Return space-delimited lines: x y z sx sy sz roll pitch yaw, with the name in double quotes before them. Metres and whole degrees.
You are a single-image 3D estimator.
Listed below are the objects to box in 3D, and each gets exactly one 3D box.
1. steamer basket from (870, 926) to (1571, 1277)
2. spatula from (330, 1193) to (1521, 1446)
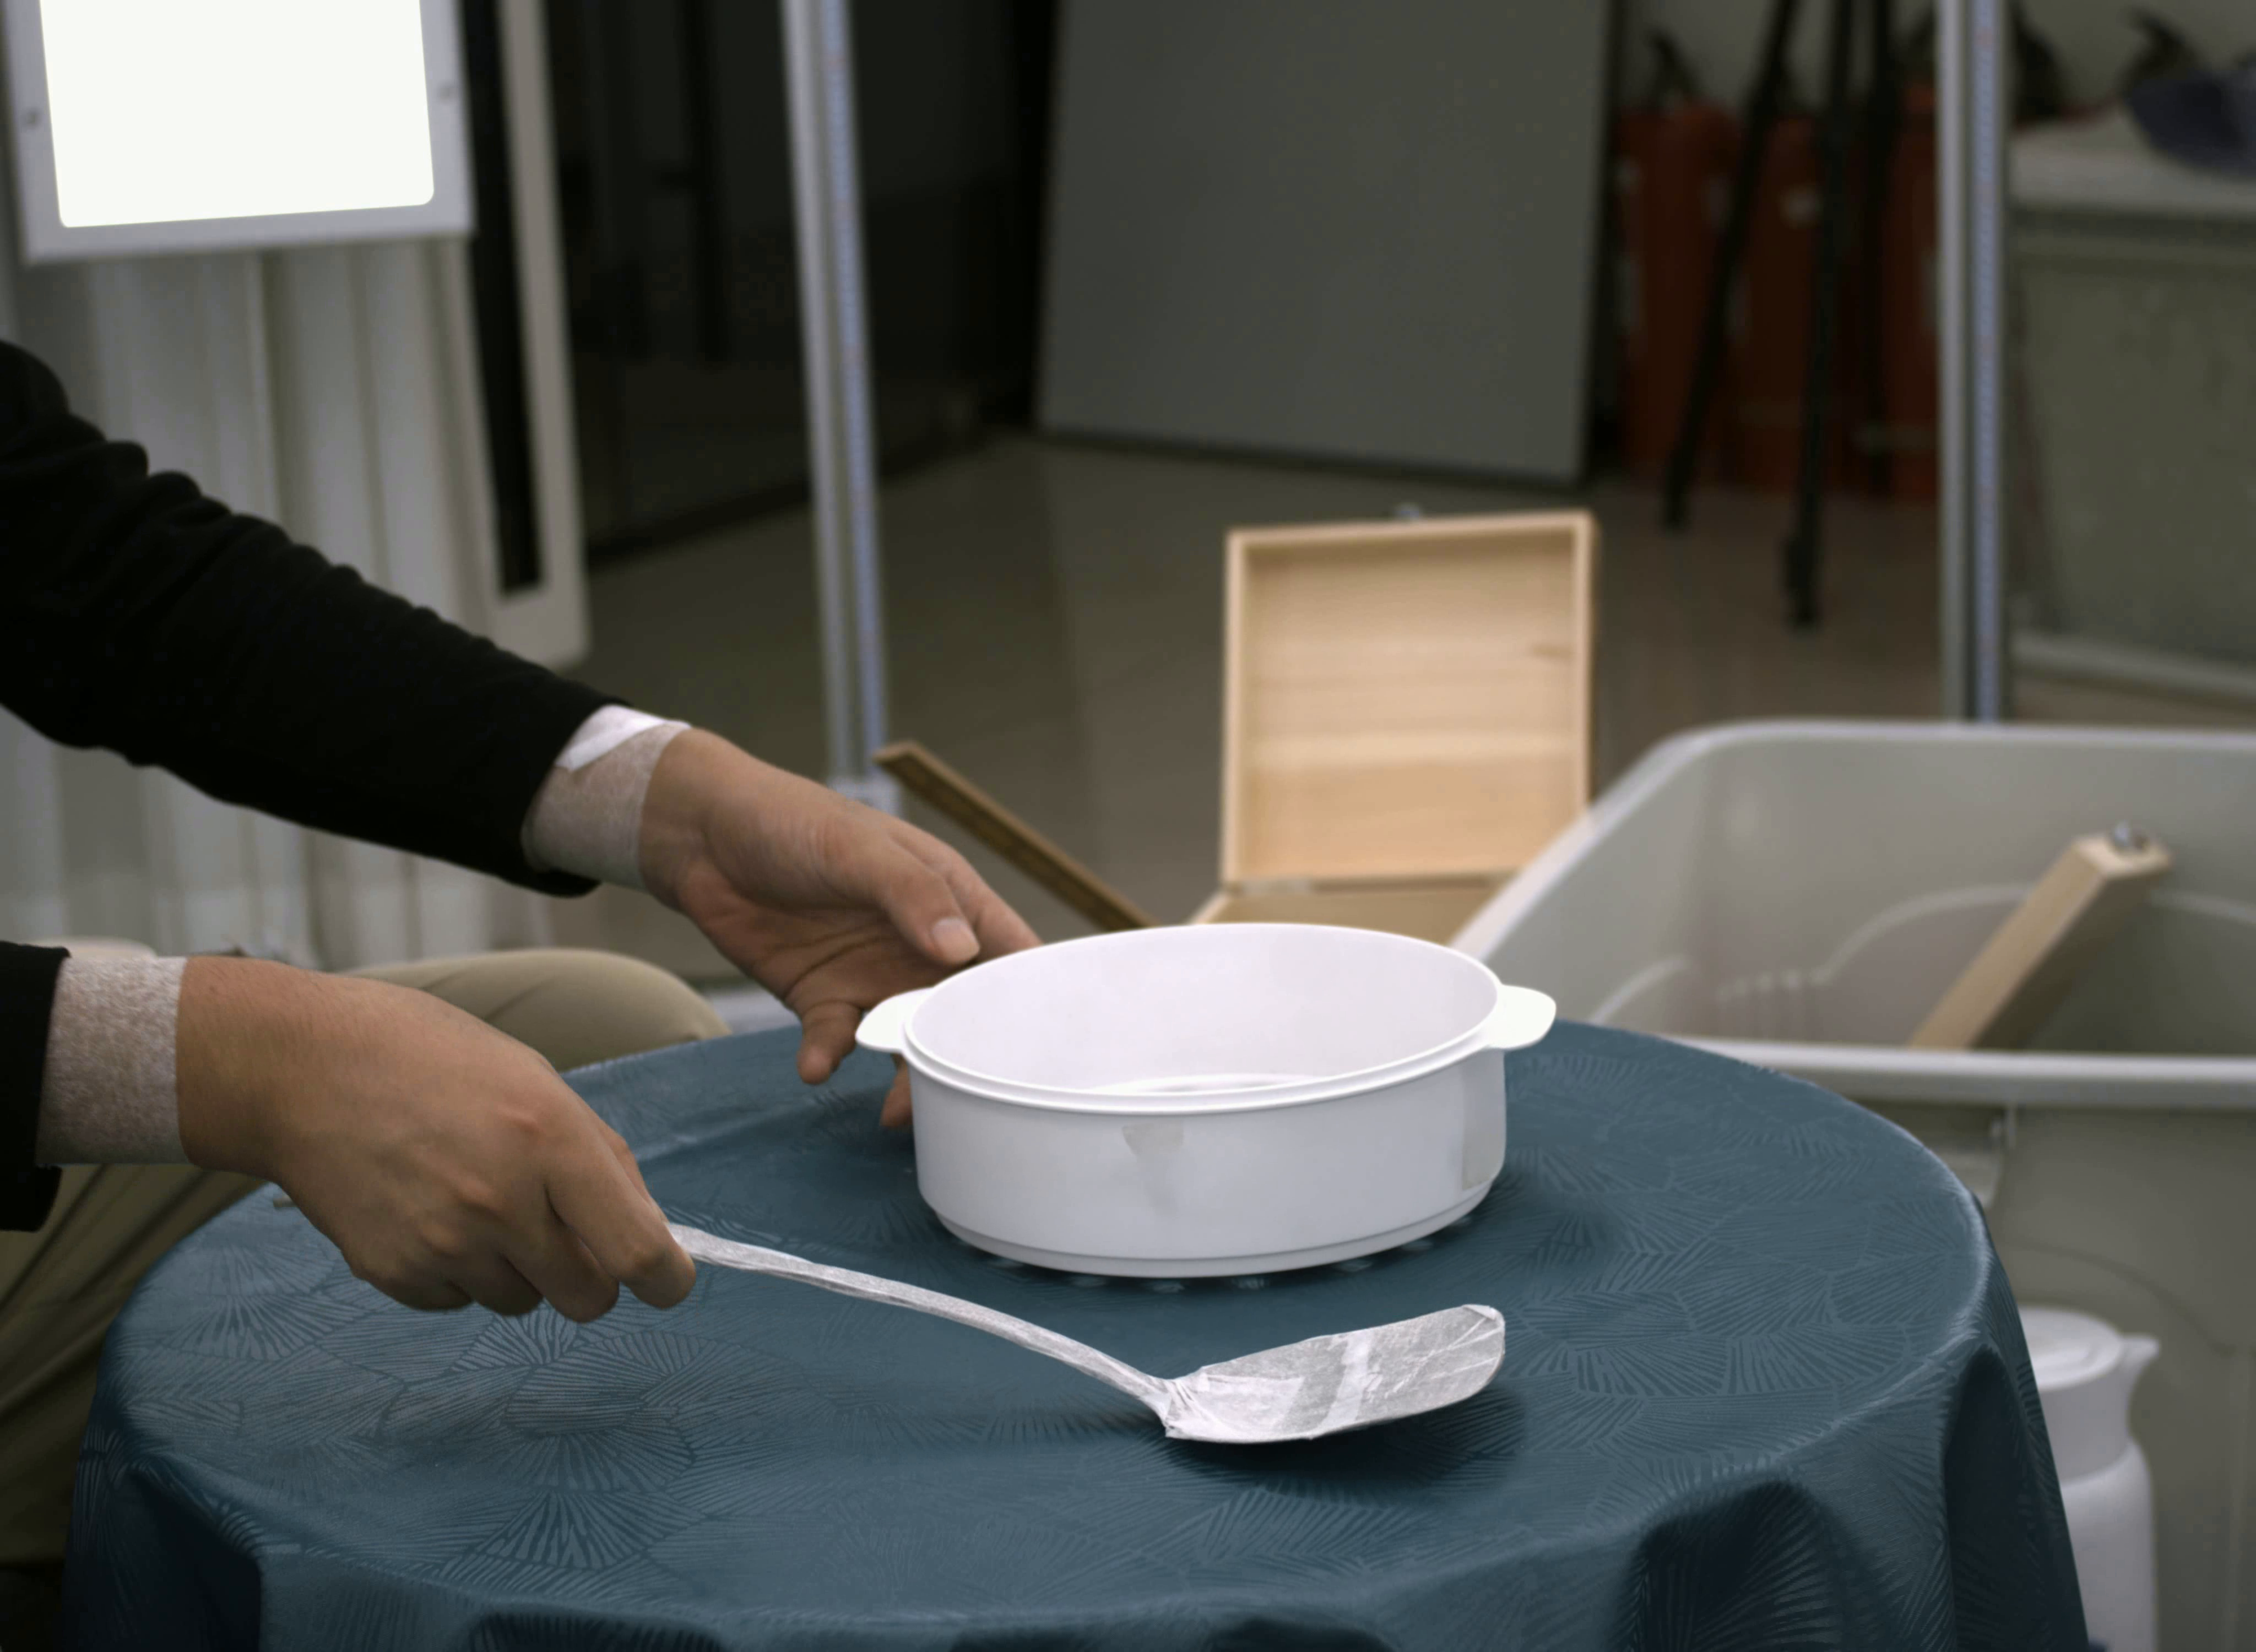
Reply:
"steamer basket" 0.031 0.088 1.746 0.229 0.070 0.200 -2 13 14
"spatula" -0.066 0.133 1.573 0.363 0.045 0.098 12 18 13
